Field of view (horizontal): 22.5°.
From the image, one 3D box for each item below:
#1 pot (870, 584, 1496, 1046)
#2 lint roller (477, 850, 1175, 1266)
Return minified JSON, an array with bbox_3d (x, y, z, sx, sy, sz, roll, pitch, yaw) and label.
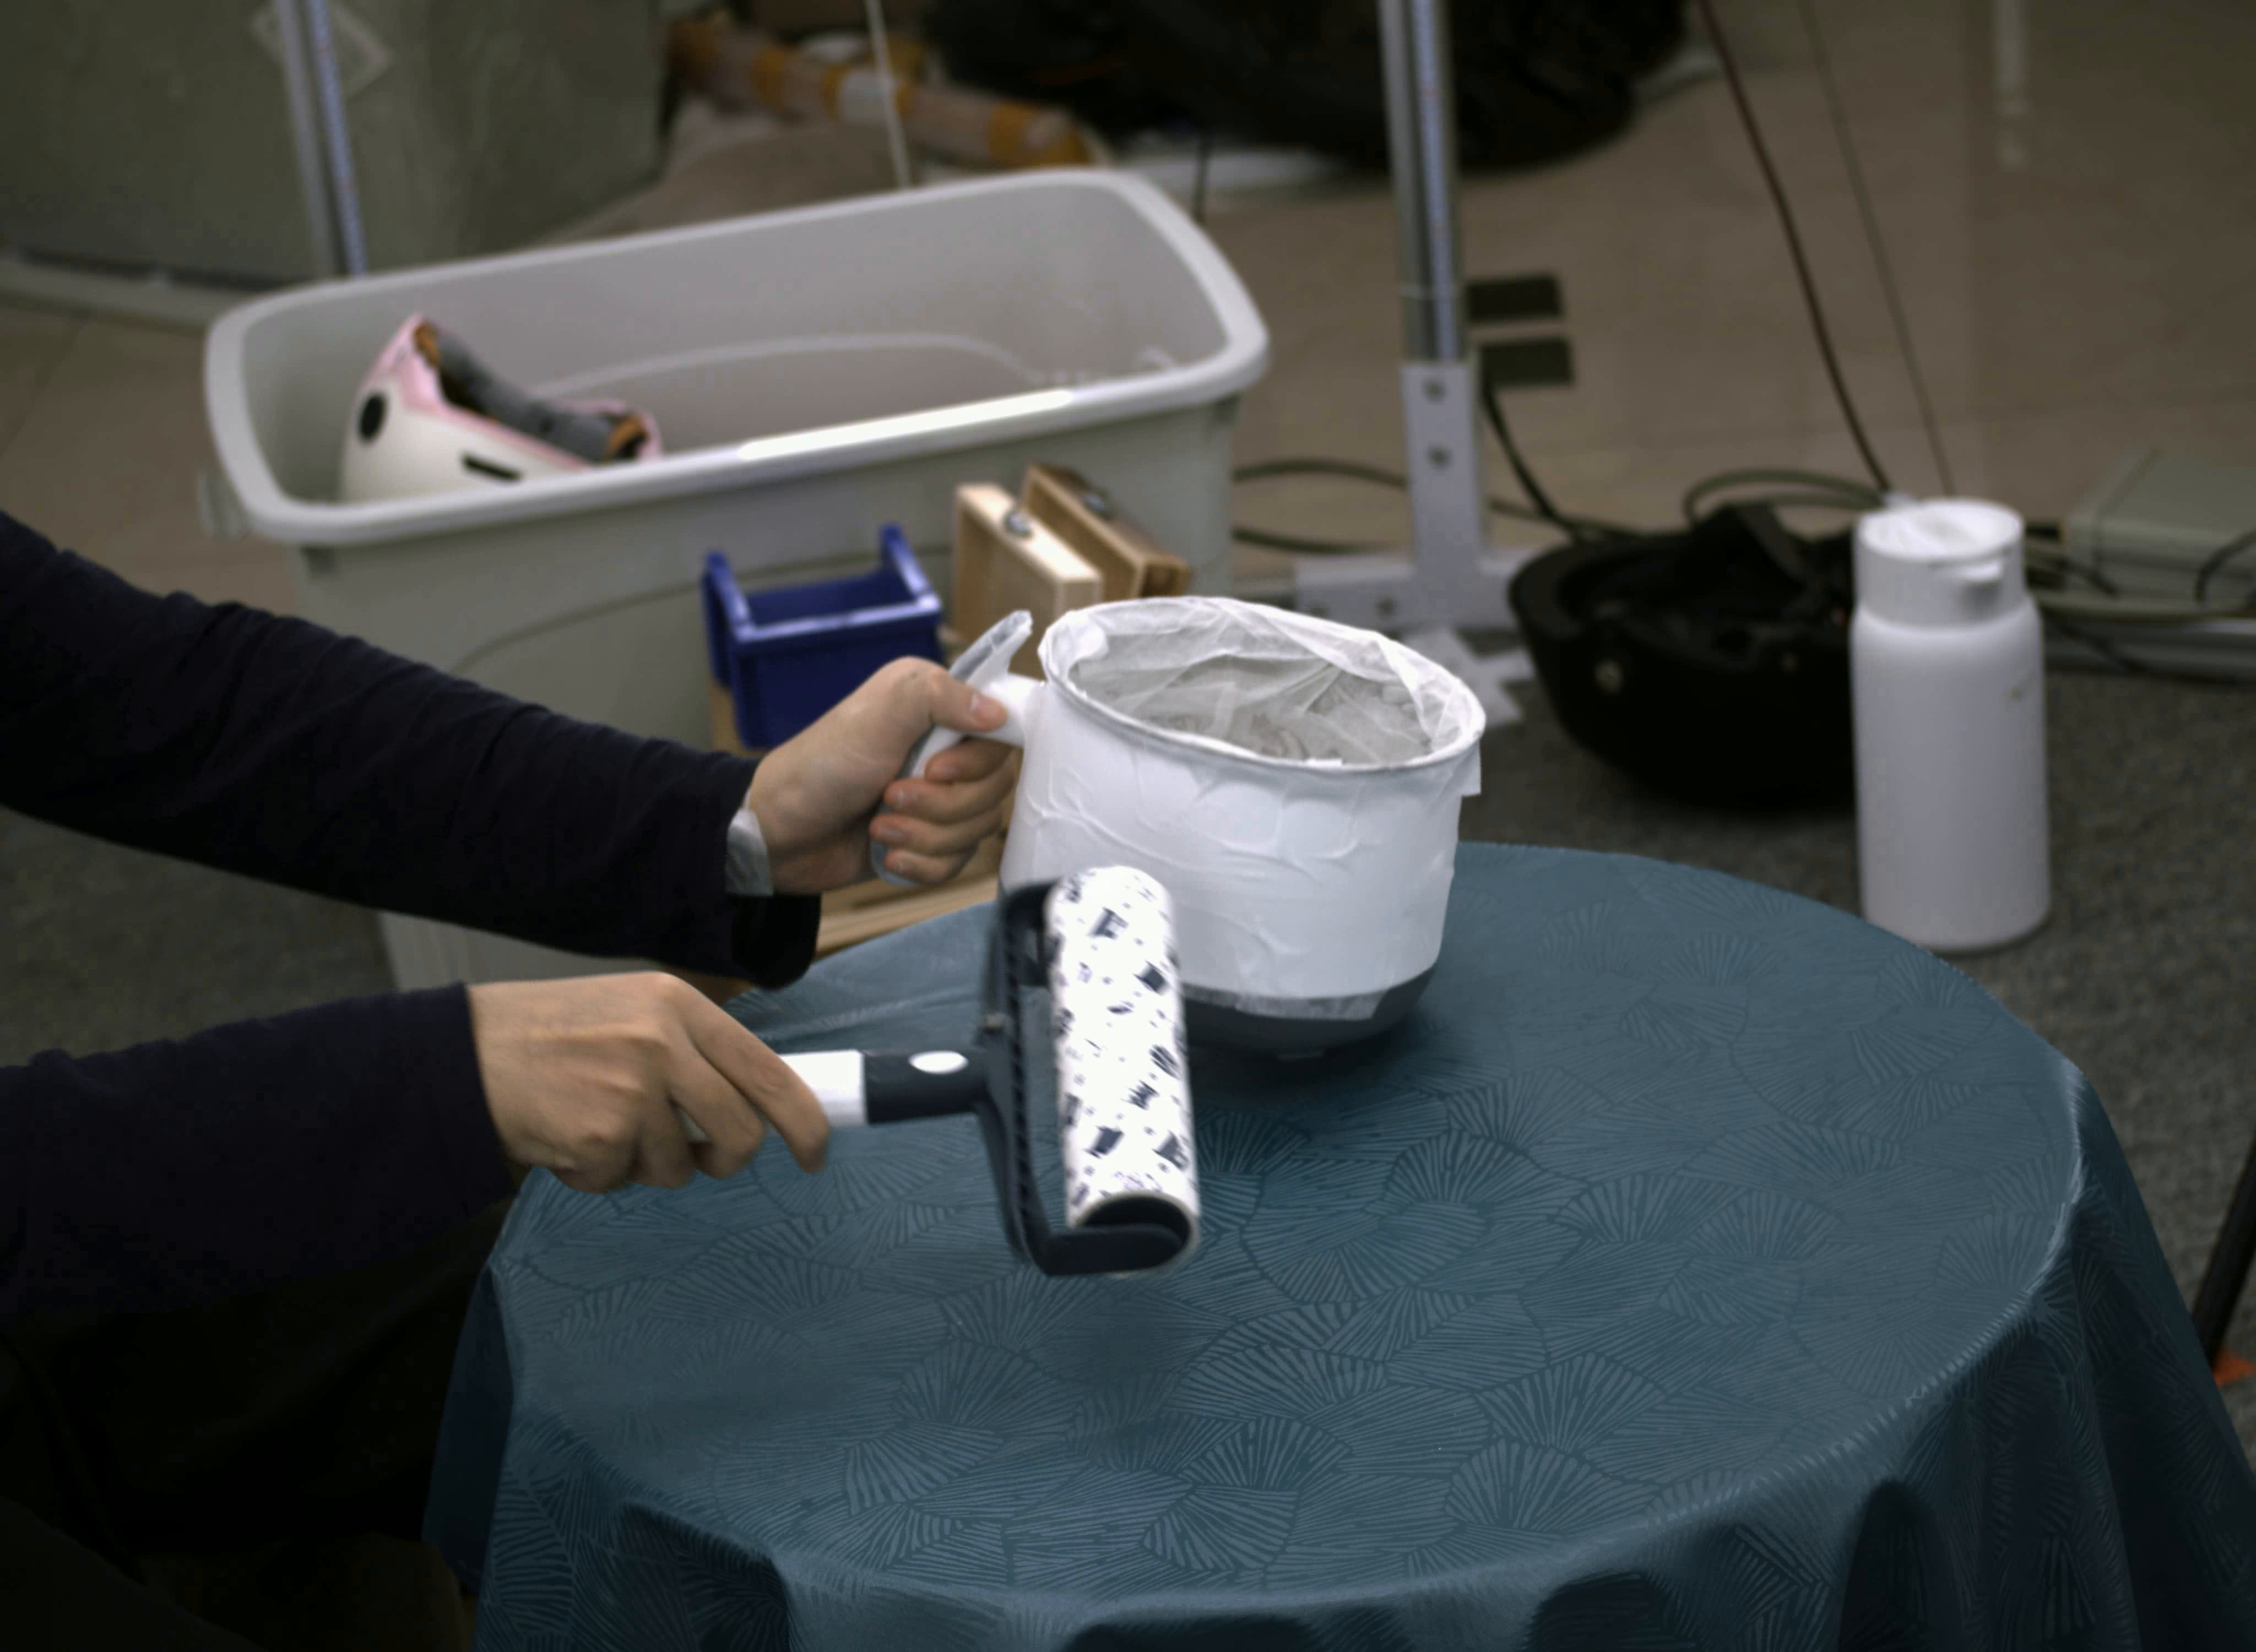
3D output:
[{"bbox_3d":[0.017,-0.011,2.231,0.233,0.138,0.177,16,19,7],"label":"pot"},{"bbox_3d":[-0.111,0.091,2.029,0.246,0.051,0.173,-5,47,-2],"label":"lint roller"}]
